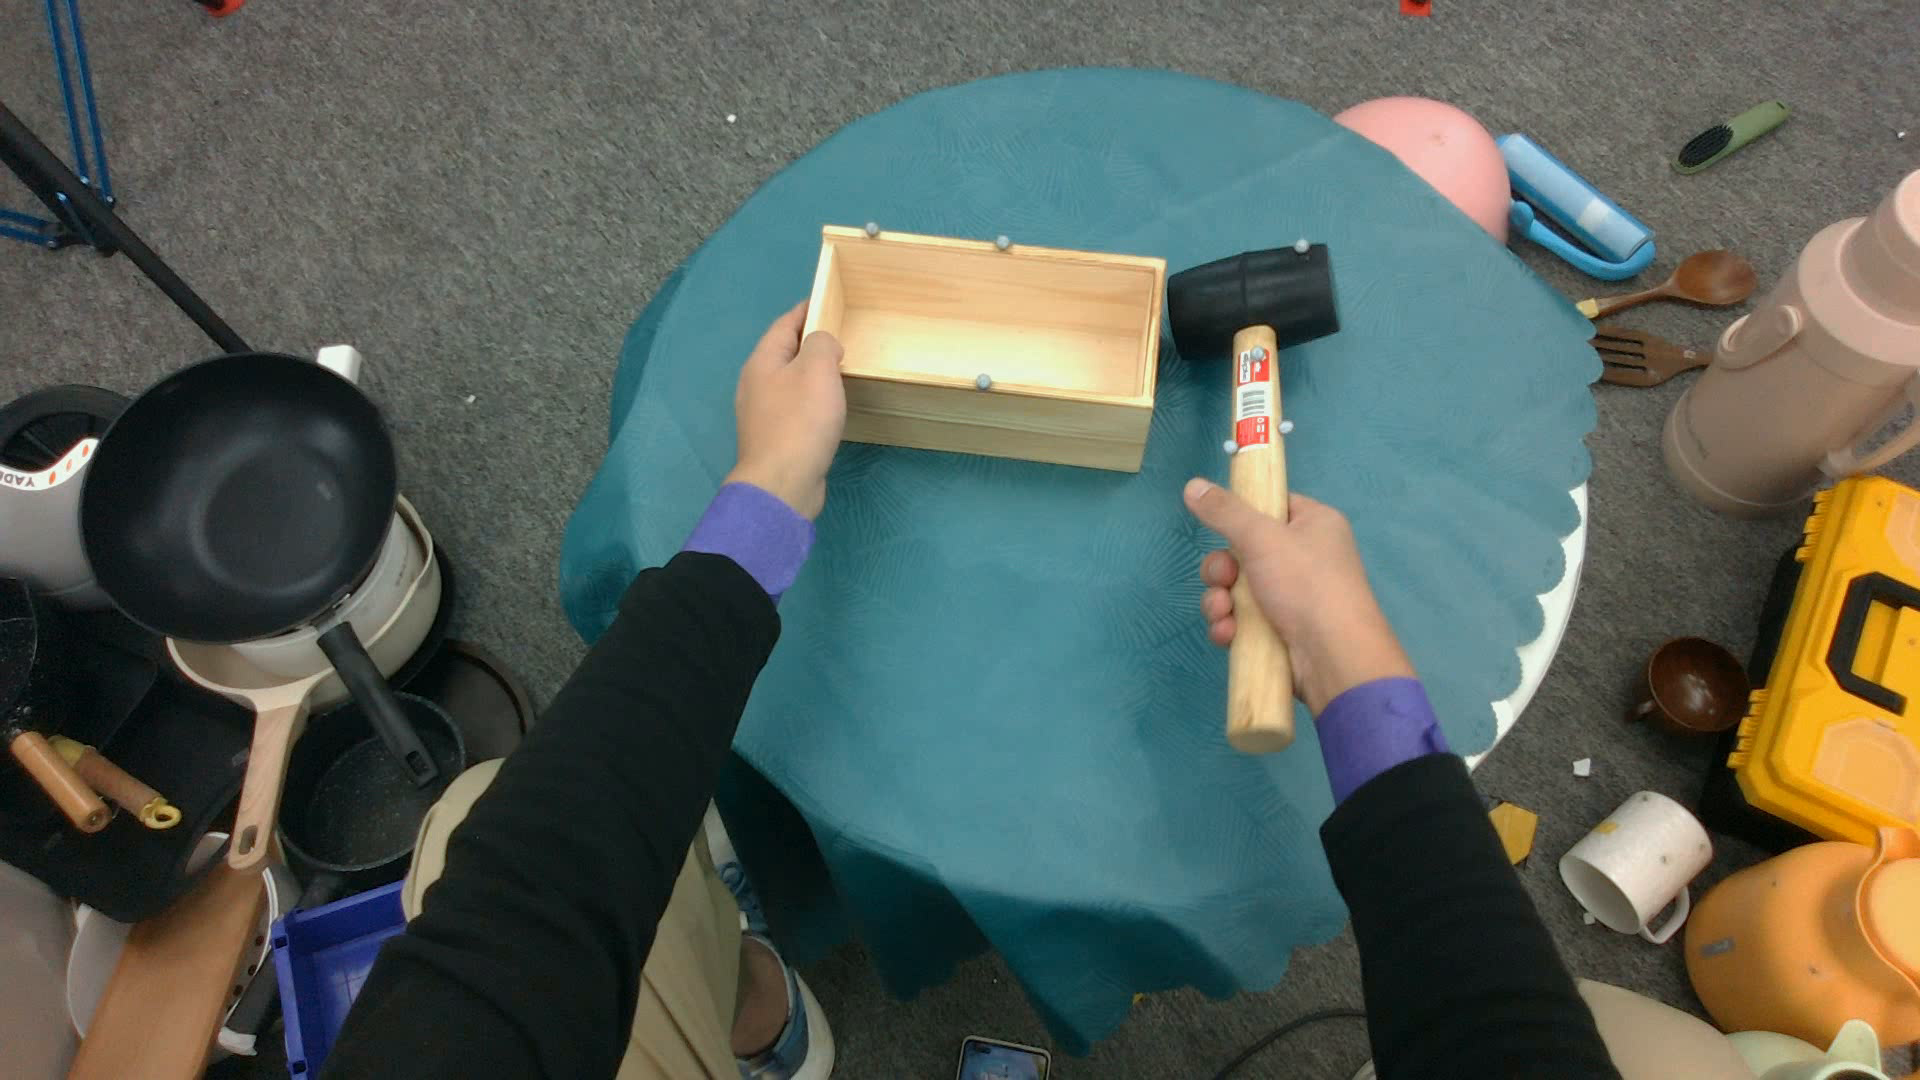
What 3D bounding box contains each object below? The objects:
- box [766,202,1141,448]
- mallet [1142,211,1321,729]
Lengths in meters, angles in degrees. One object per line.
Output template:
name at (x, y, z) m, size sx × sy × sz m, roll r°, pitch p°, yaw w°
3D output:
box at (-0.002, -0.131, 0.845) m, size 0.211 × 0.080 × 0.108 m, roll 6°, pitch 66°, yaw 3°
mallet at (0.149, -0.055, 0.766) m, size 0.101 × 0.064 × 0.340 m, roll -13°, pitch 47°, yaw 27°
